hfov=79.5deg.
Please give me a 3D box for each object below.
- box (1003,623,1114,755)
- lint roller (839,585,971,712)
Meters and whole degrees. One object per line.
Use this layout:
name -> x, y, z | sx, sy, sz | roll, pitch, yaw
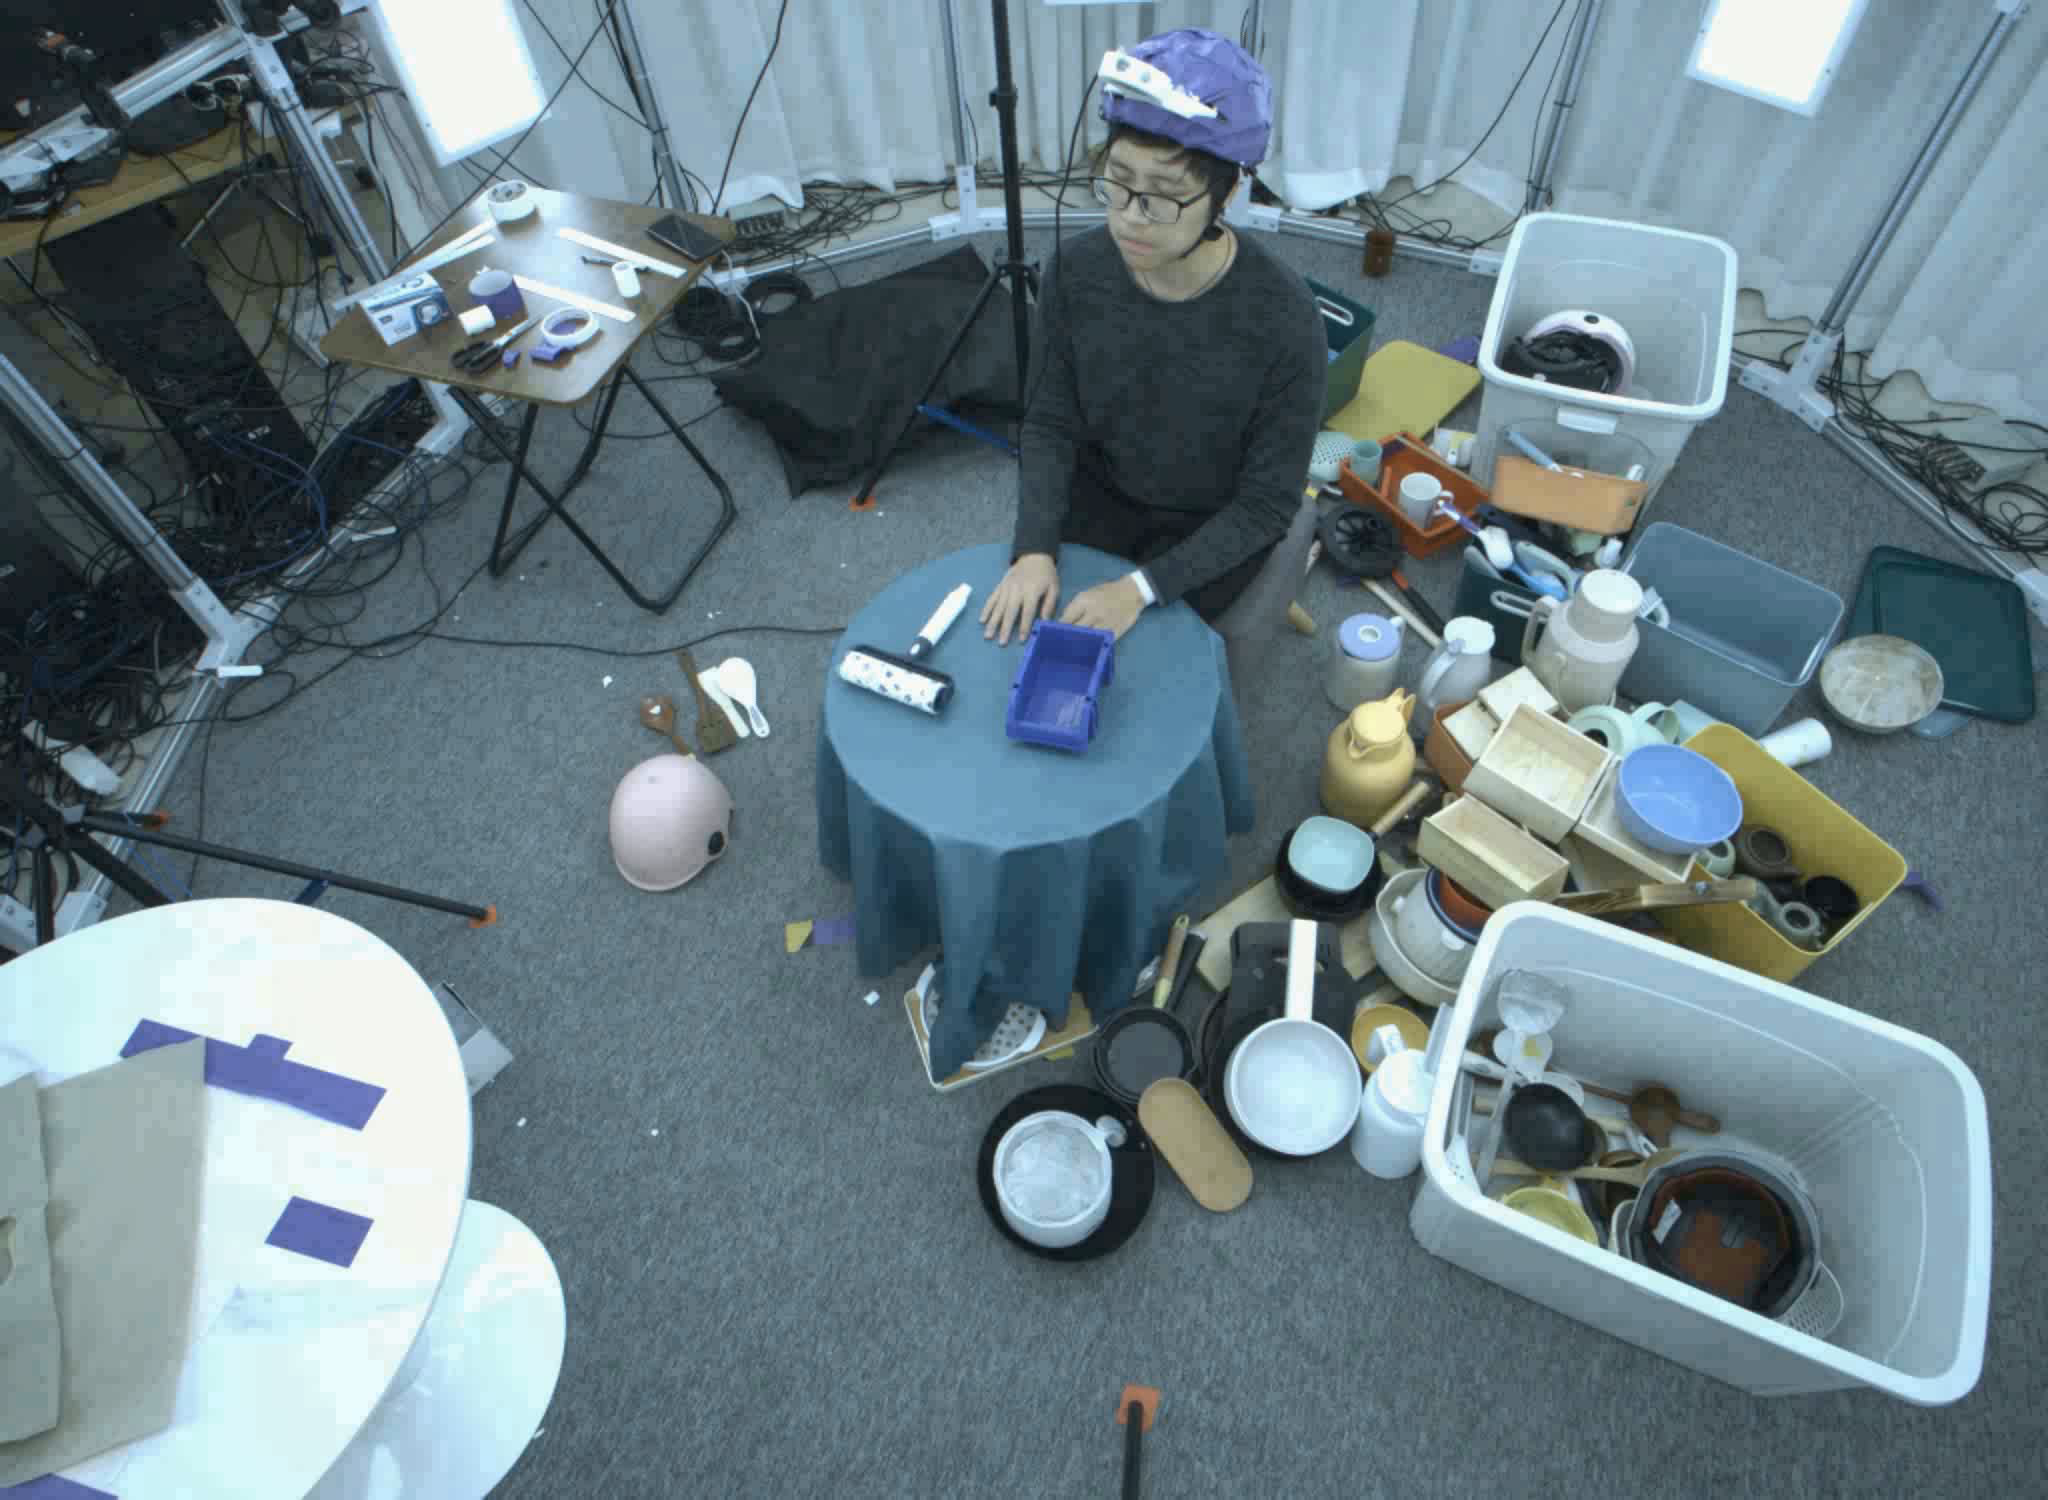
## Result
box -> 0.053, -0.084, 1.795 | 0.123, 0.083, 0.179 | 12, 54, 11
lint roller -> -0.152, -0.176, 1.891 | 0.174, 0.051, 0.247 | 21, 57, 17
